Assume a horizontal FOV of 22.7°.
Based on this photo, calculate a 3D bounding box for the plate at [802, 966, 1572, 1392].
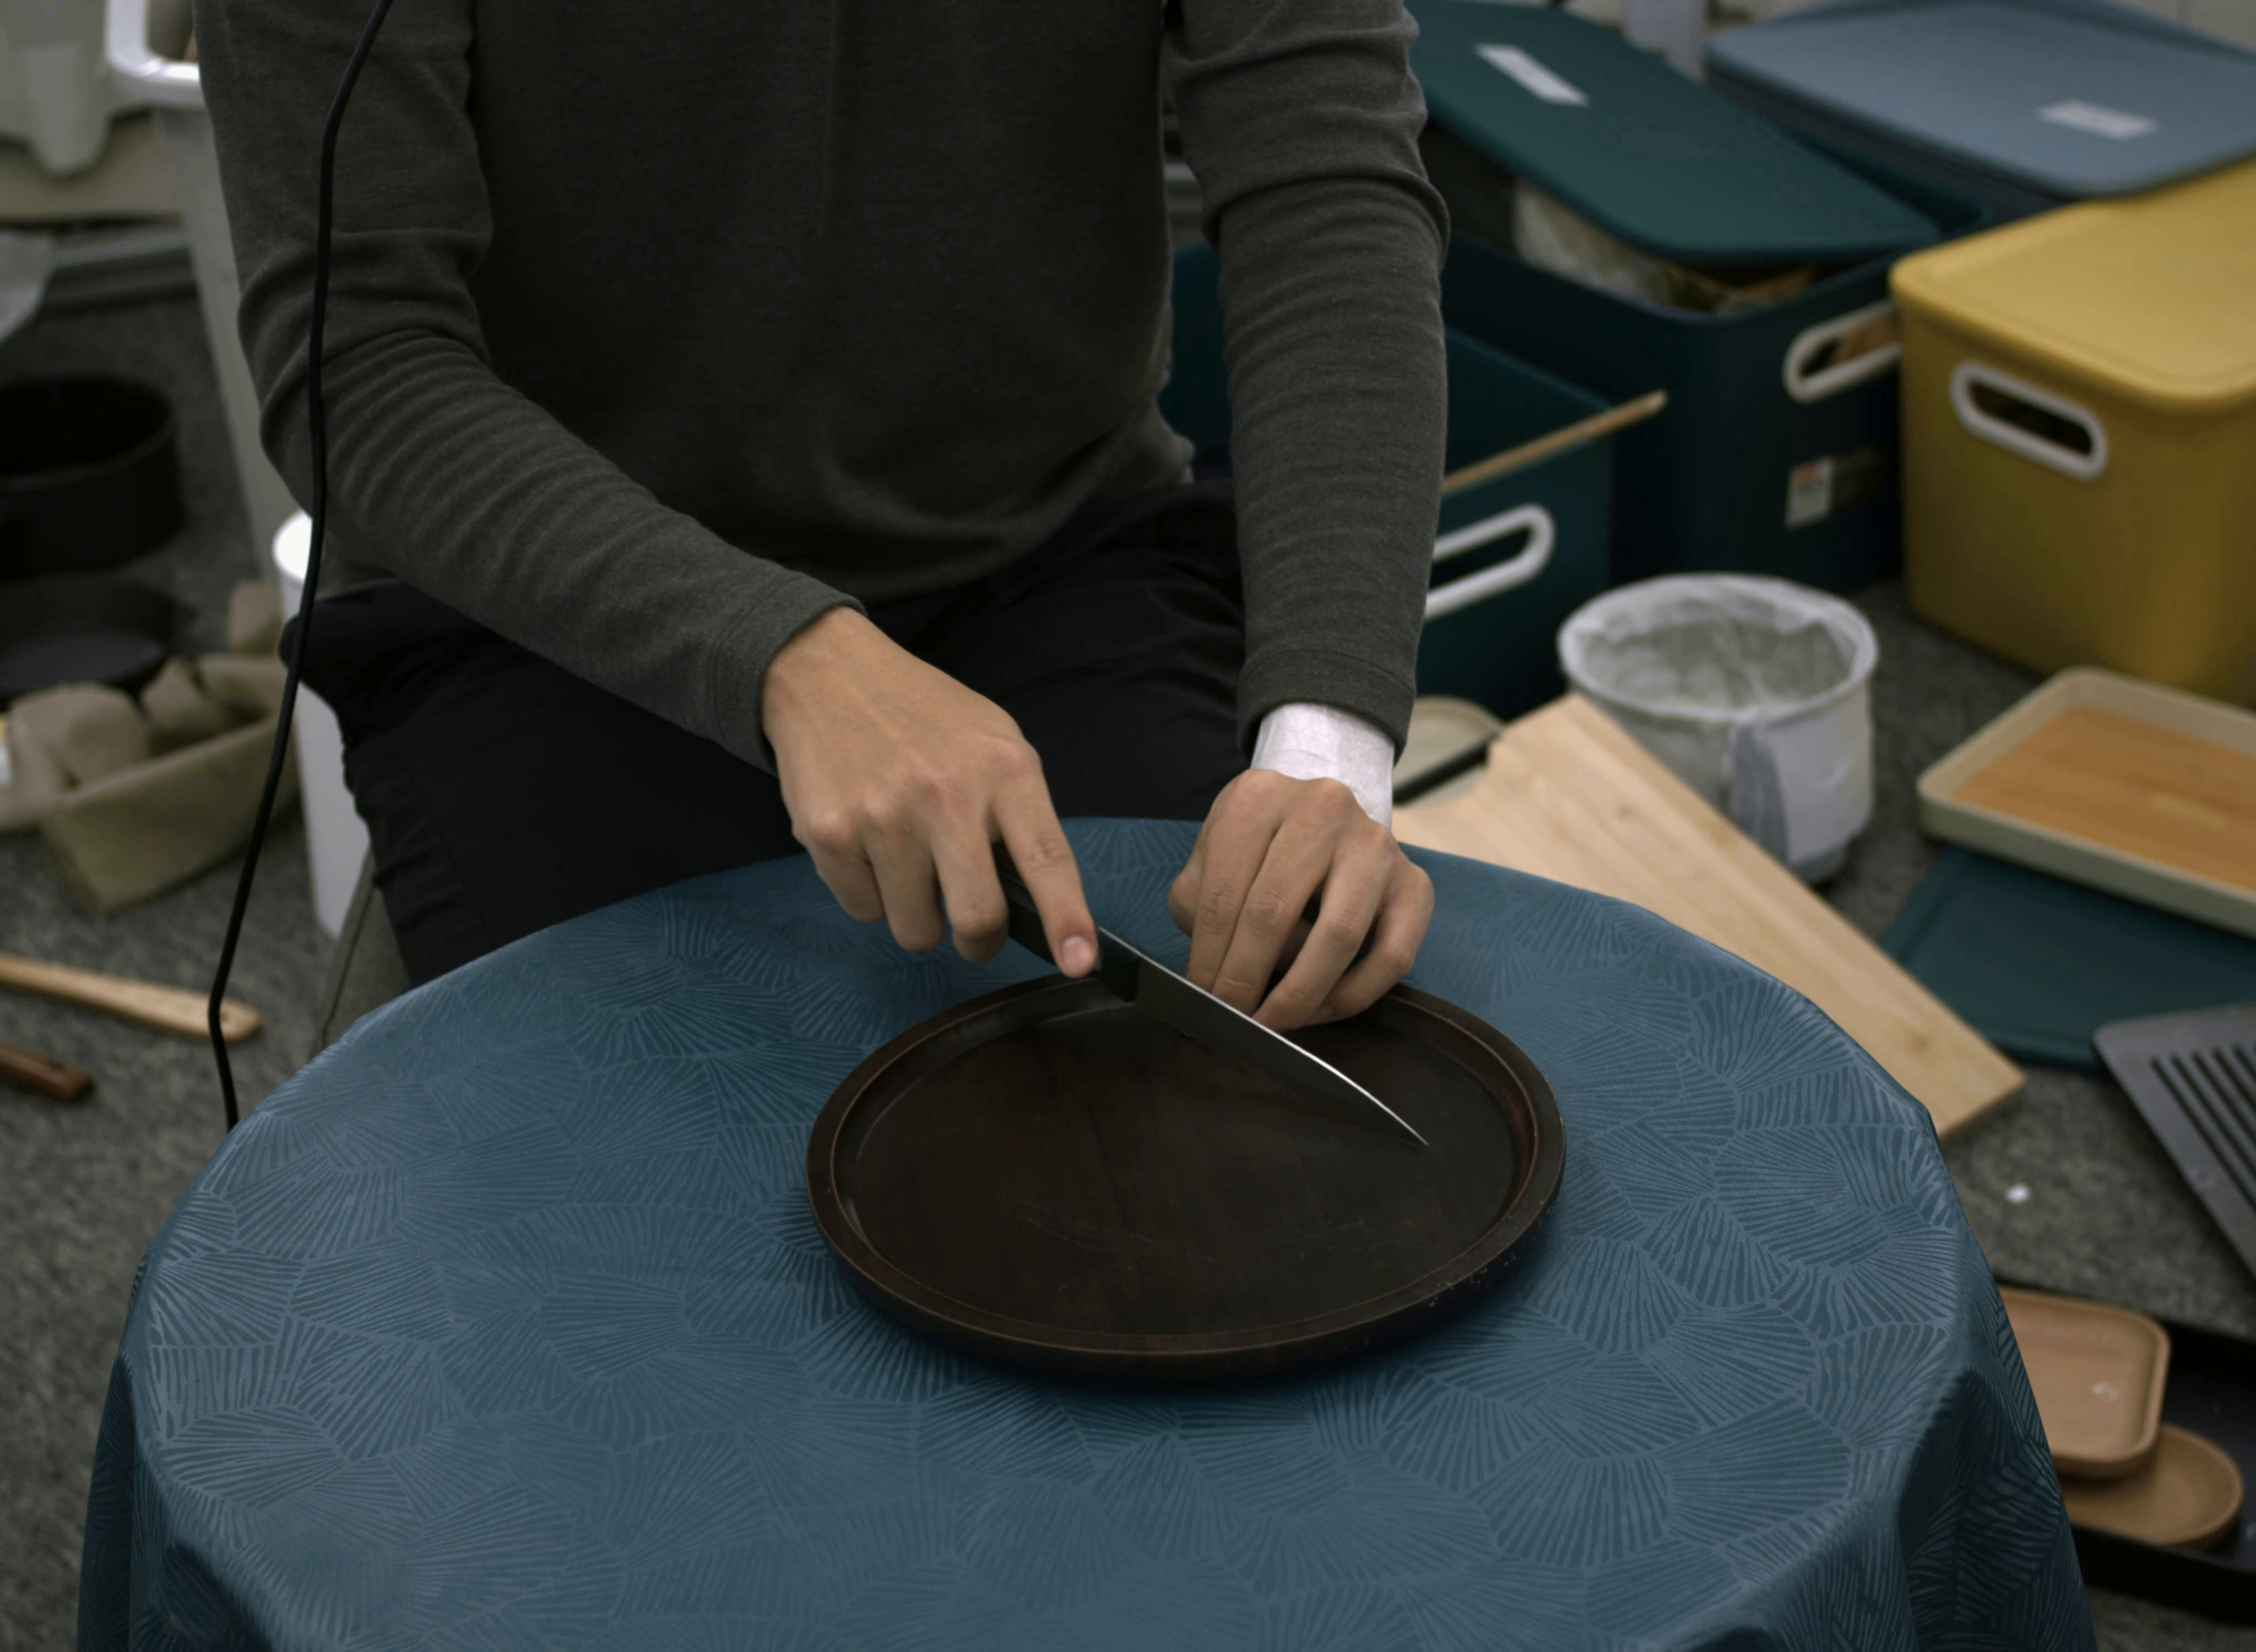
[{"bbox_3d":[0.020,0.114,1.851,0.253,0.029,0.259,-1,28,1],"label":"plate"}]

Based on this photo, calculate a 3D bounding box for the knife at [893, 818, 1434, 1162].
[{"bbox_3d":[0.011,0.054,1.907,0.238,0.024,0.016,31,31,29],"label":"knife"}]
